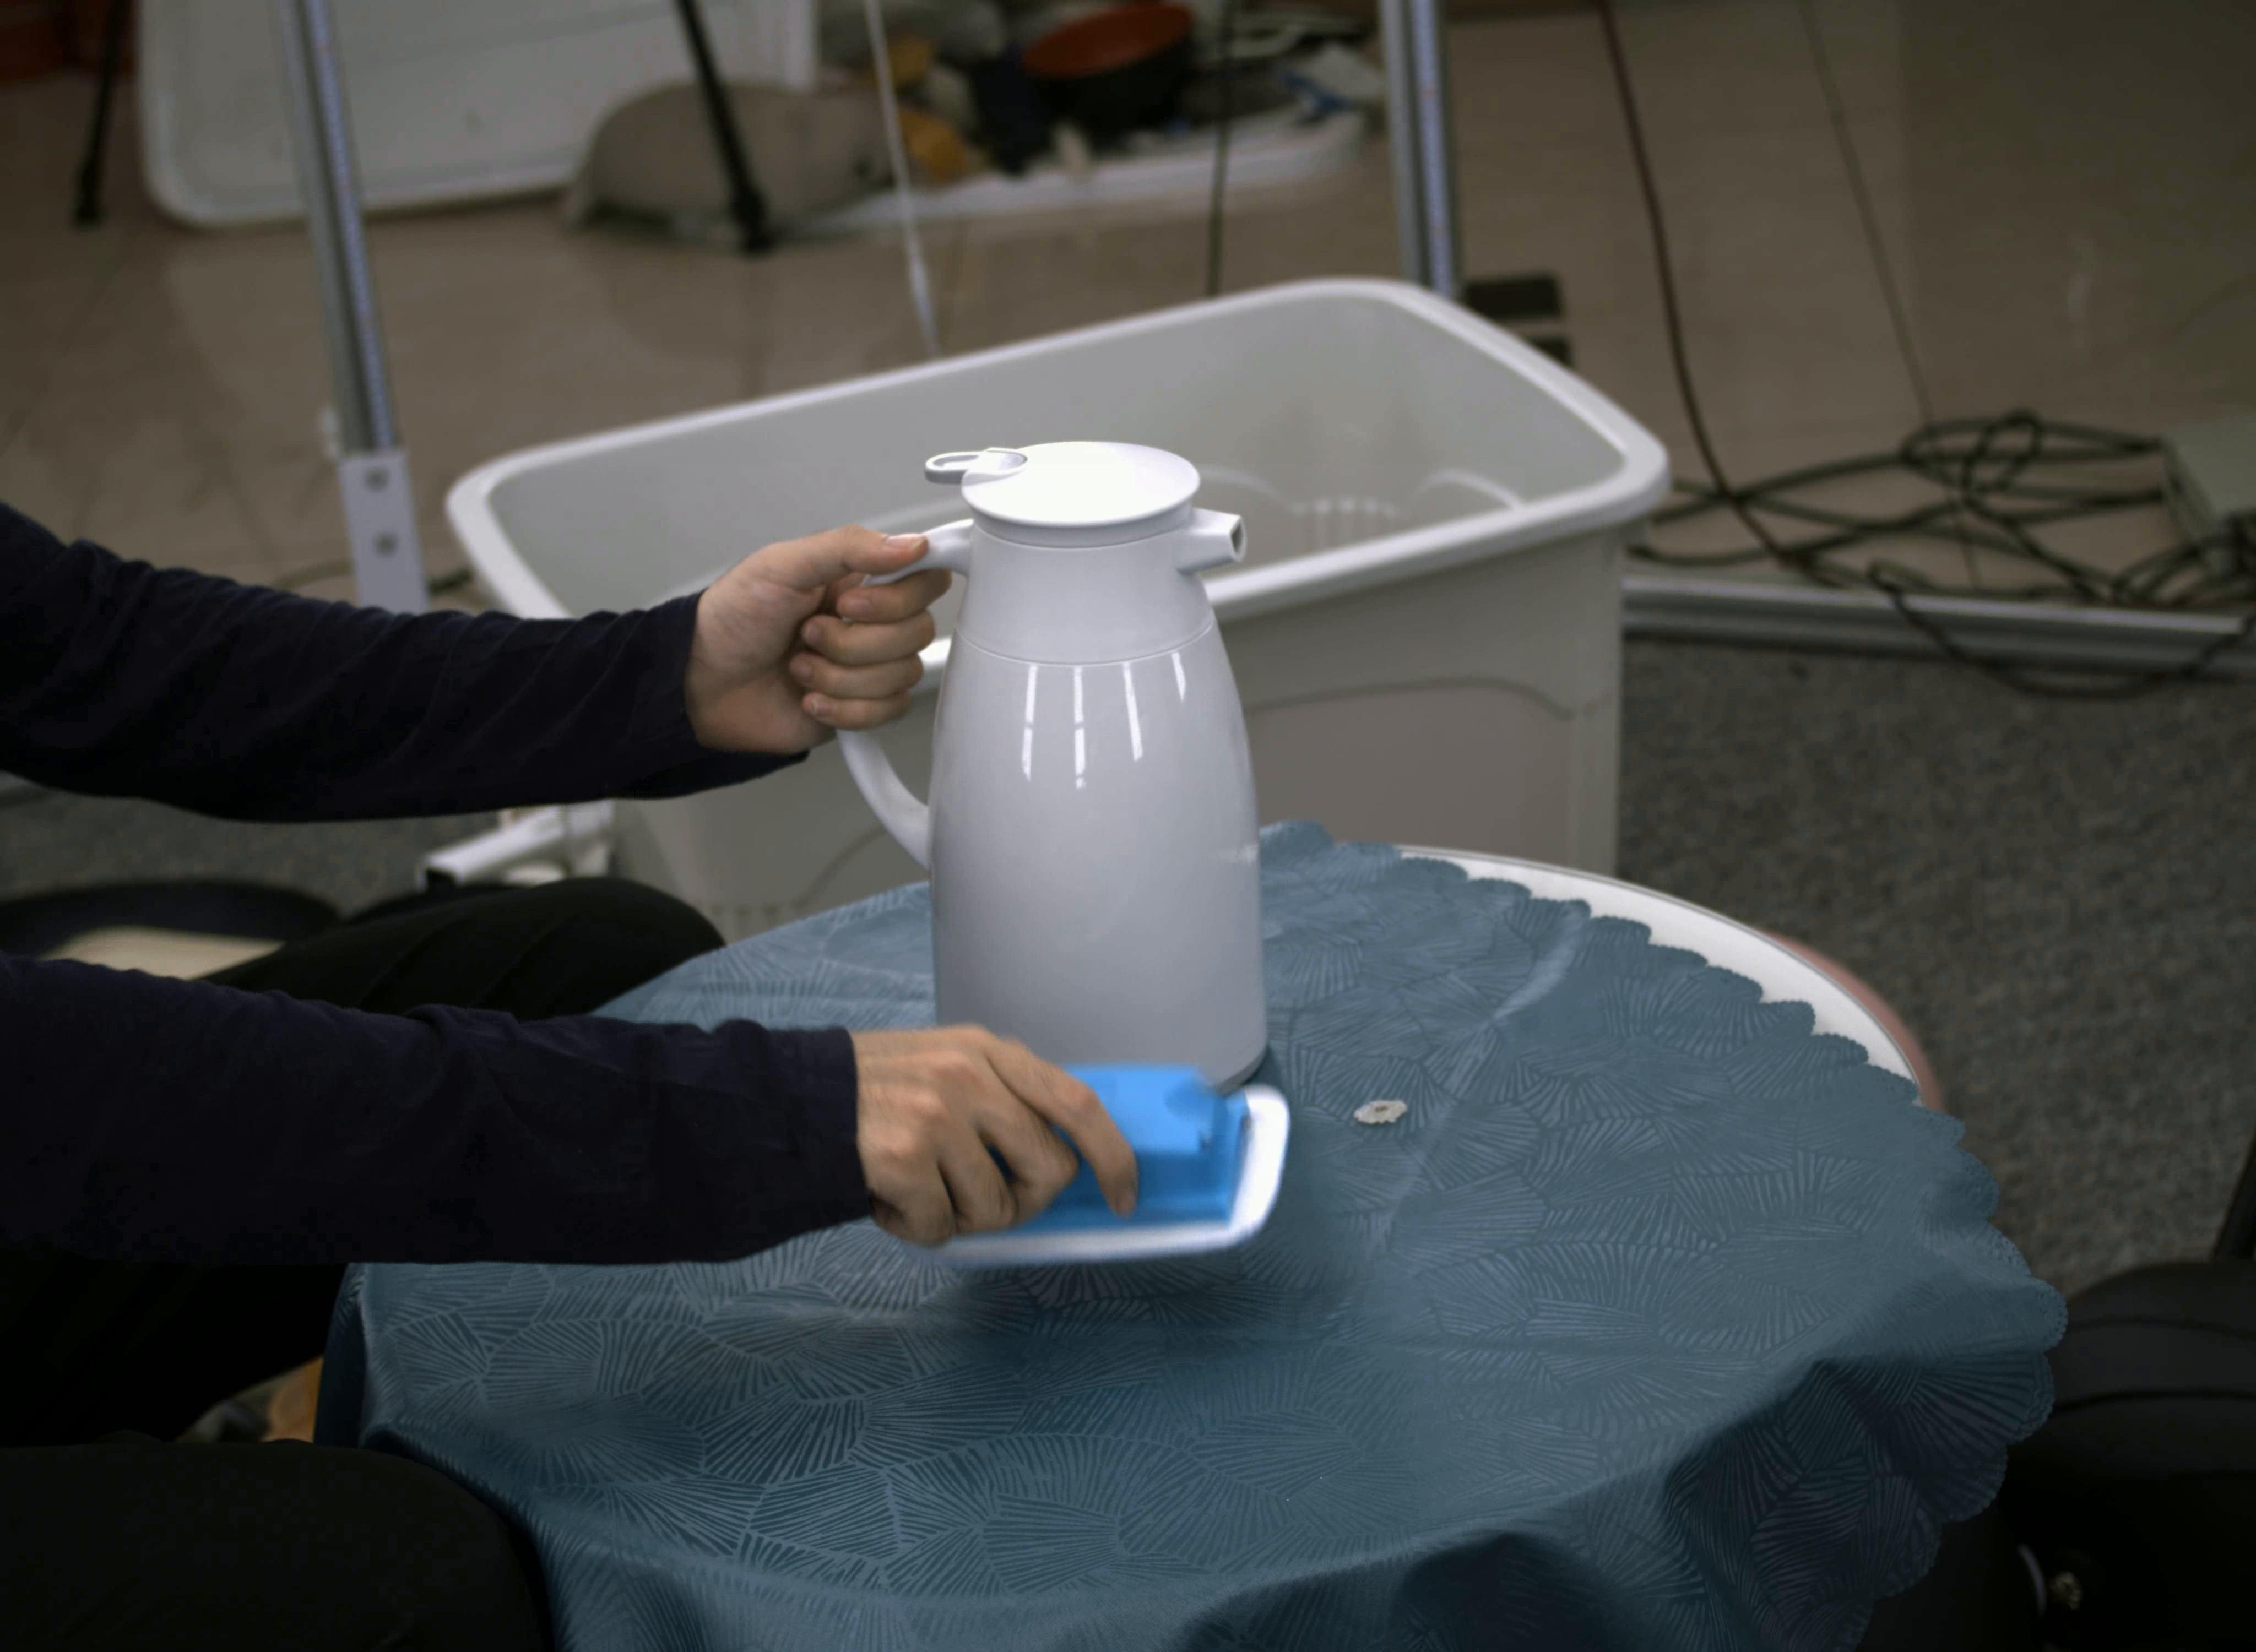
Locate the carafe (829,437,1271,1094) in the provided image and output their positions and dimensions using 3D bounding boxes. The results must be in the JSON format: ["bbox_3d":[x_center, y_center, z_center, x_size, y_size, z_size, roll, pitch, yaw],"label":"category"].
[{"bbox_3d":[-0.032,-0.025,2.196,0.167,0.252,0.131,3,25,13],"label":"carafe"}]

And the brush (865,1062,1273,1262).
[{"bbox_3d":[-0.023,0.119,2.053,0.143,0.057,0.082,0,37,16],"label":"brush"}]
